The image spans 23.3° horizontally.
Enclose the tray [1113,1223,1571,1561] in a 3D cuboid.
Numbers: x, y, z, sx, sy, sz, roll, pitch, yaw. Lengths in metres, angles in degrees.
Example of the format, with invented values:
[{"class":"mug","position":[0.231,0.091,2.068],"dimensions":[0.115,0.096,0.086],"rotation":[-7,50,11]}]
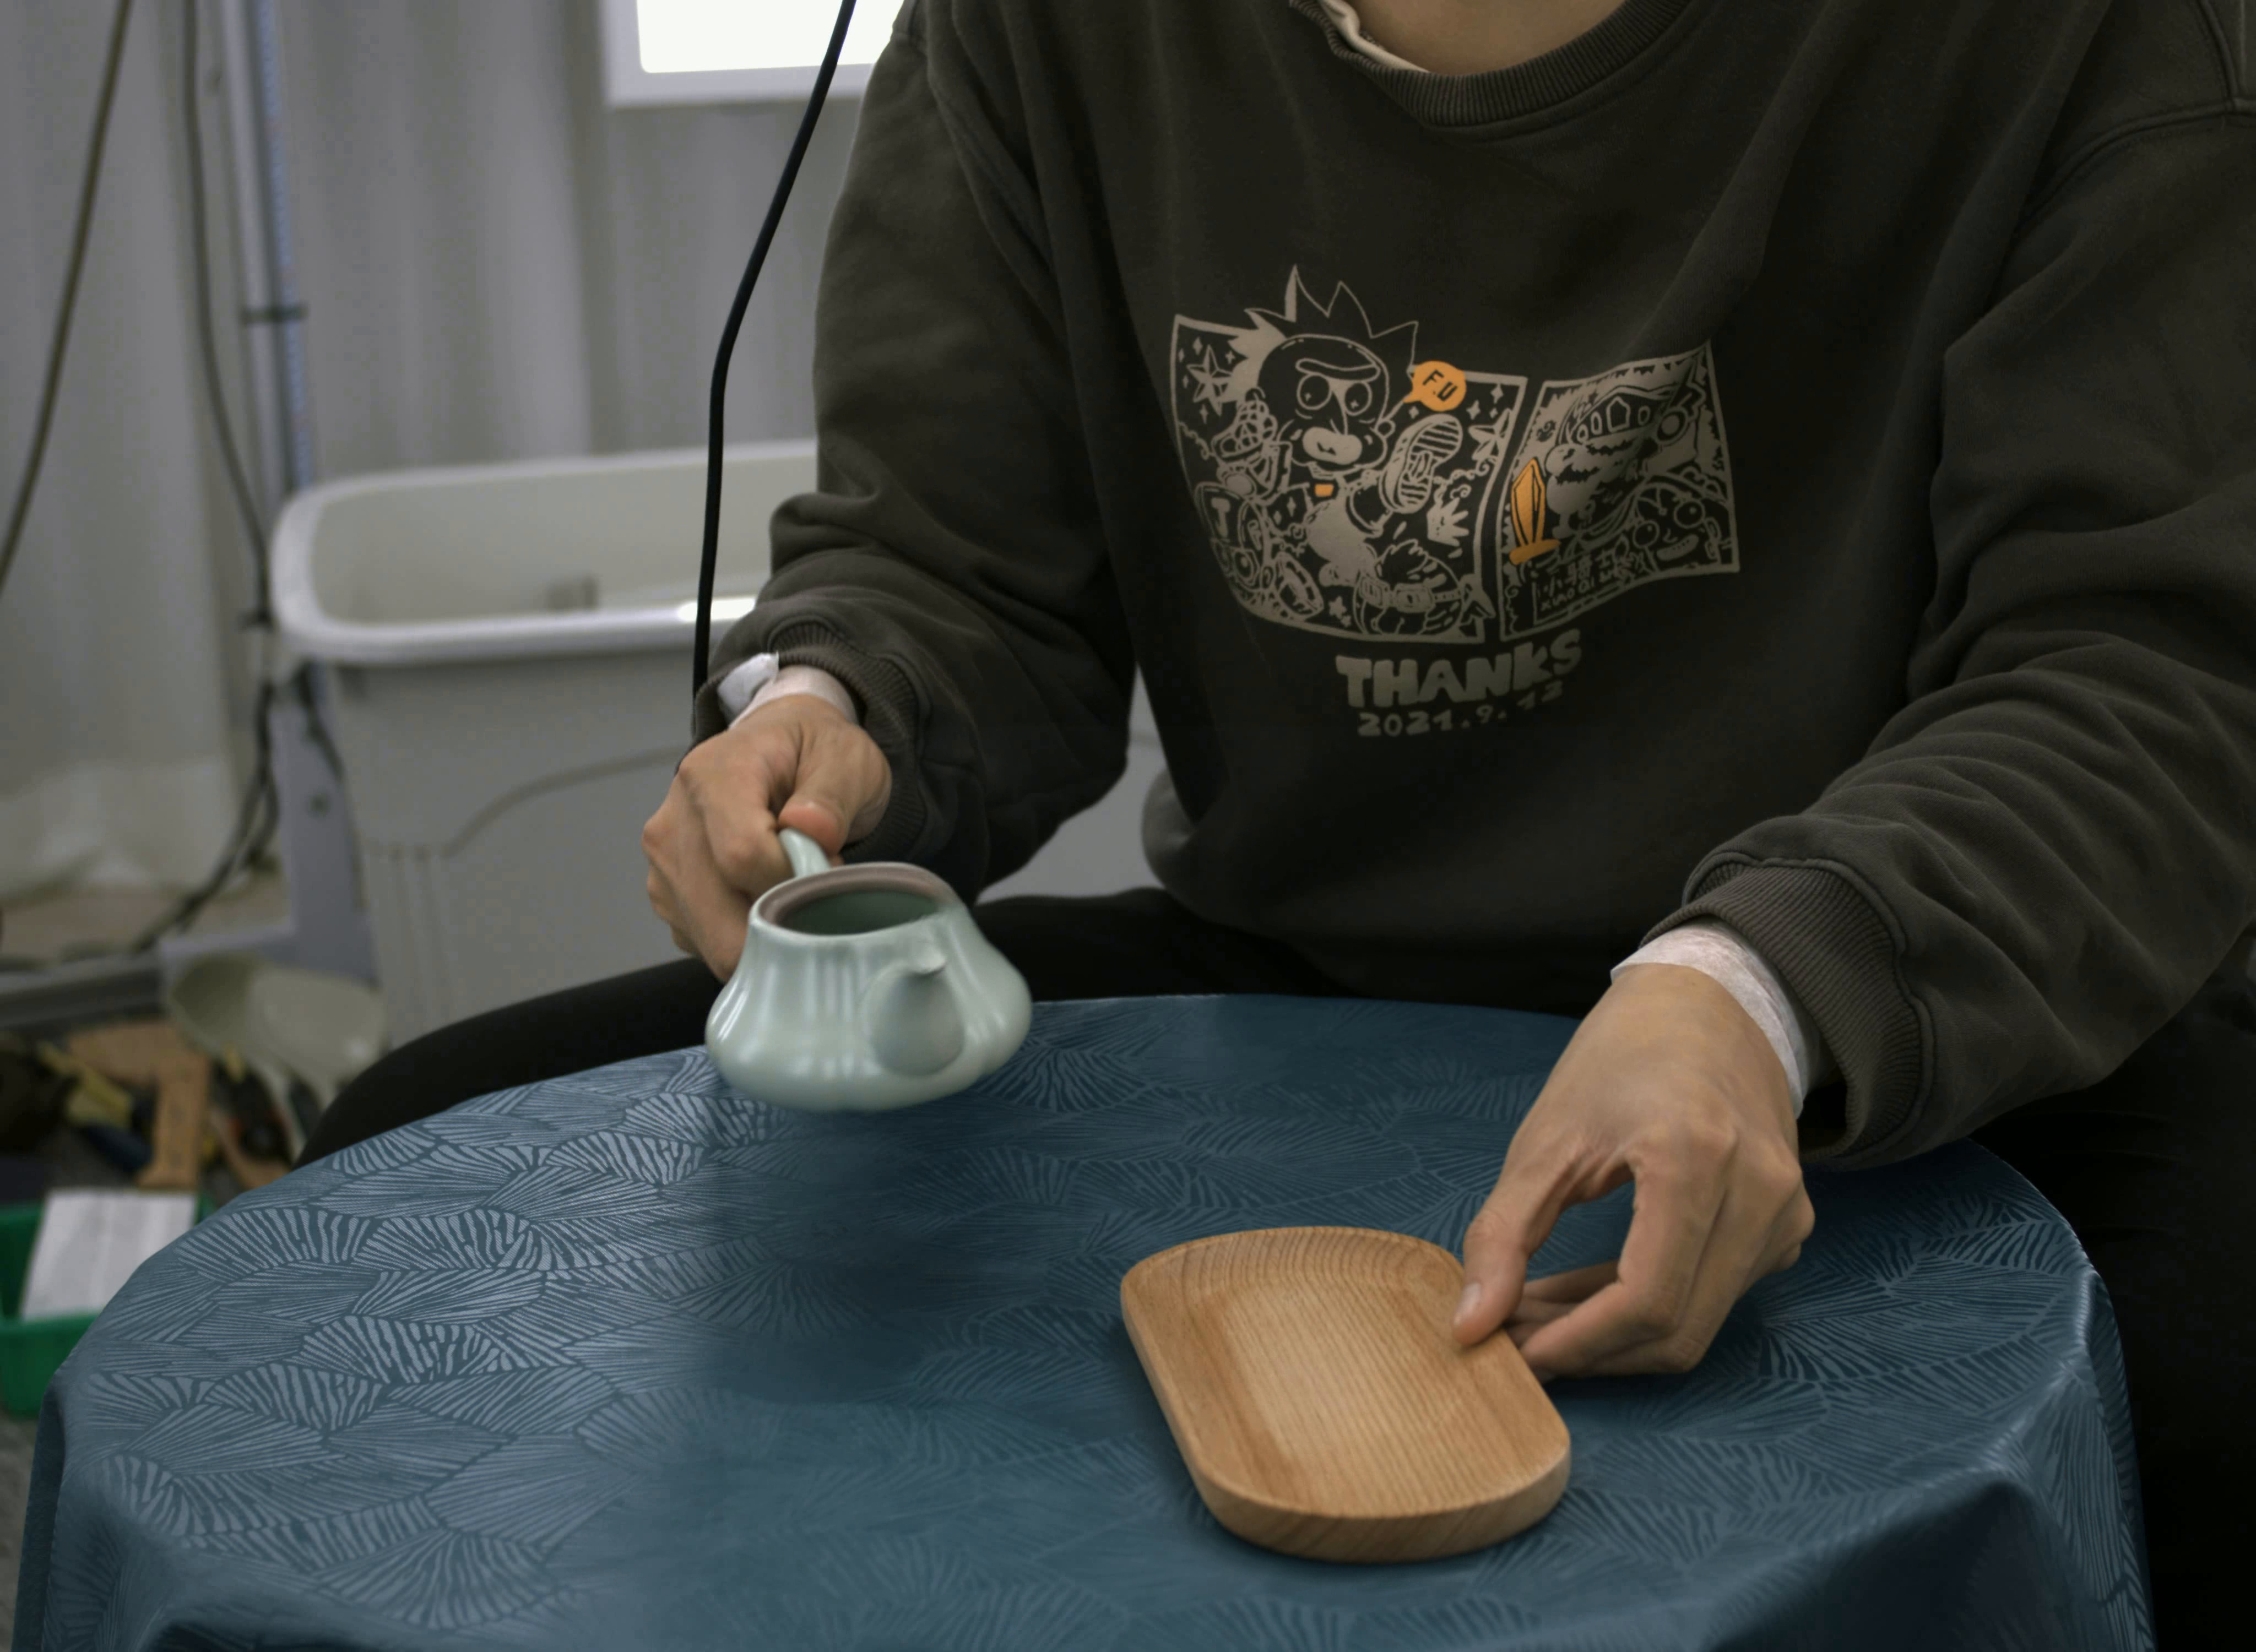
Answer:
[{"class":"tray","position":[0.057,0.155,1.527],"dimensions":[0.101,0.020,0.233],"rotation":[-5,14,-9]}]

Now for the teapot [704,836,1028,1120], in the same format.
[{"class":"teapot","position":[-0.081,0.047,1.618],"dimensions":[0.096,0.061,0.138],"rotation":[-16,23,-21]}]
